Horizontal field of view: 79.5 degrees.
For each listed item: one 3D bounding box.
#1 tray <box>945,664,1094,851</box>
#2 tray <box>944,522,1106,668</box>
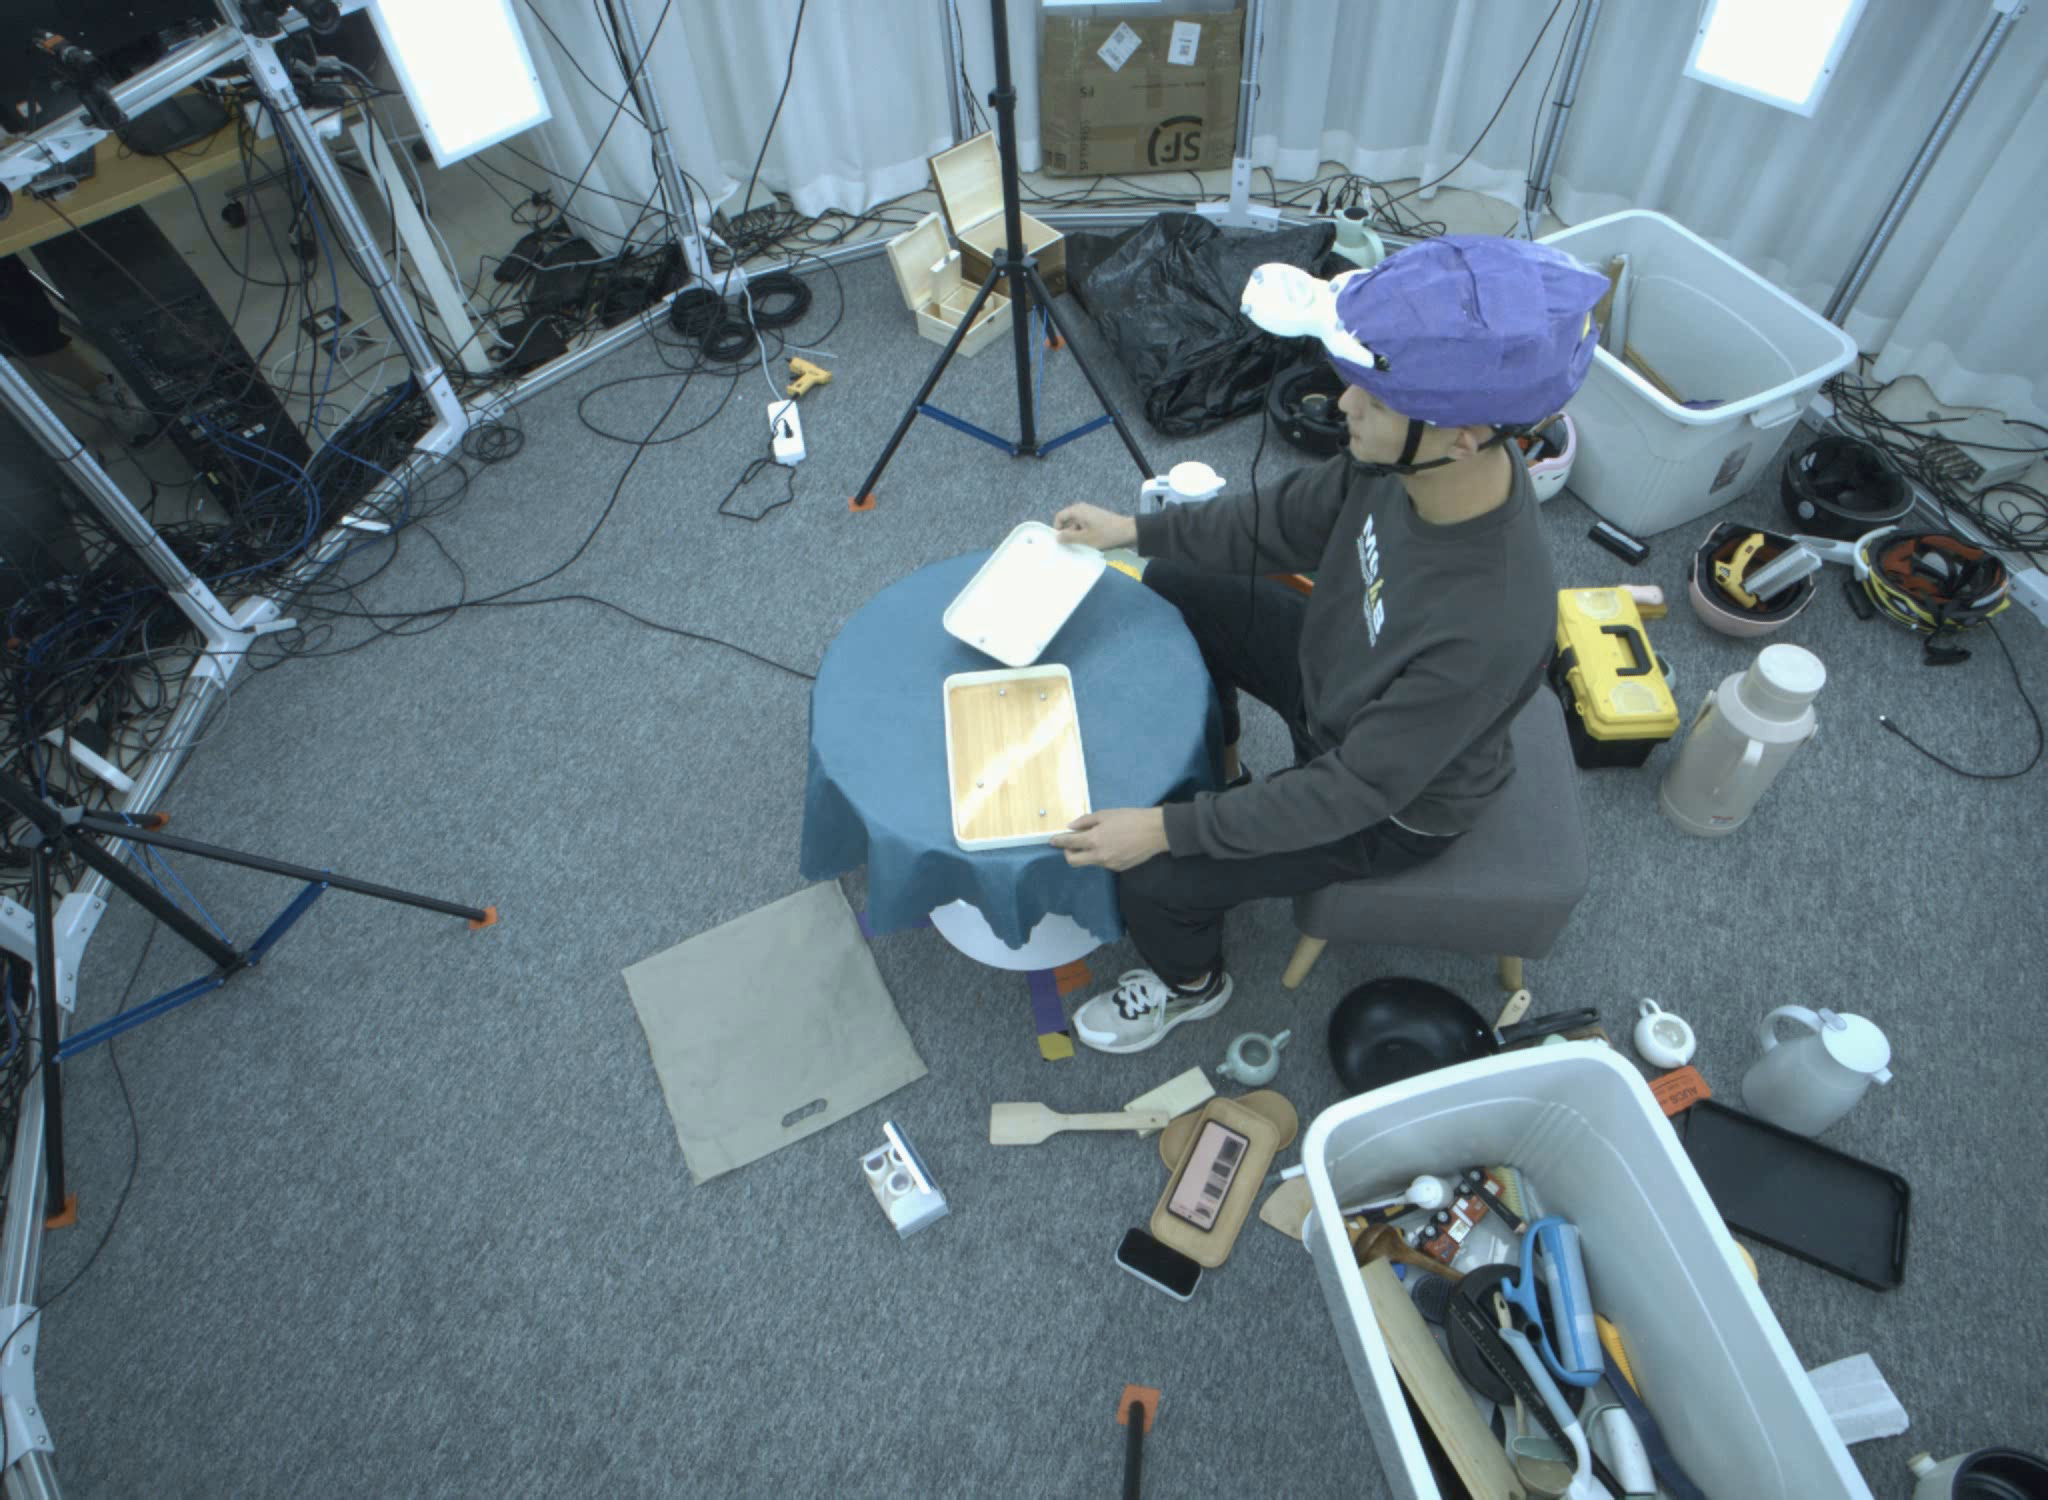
[{"bbox_3d":[-0.010,0.005,1.766,0.192,0.028,0.296,-5,55,-3],"label":"tray"},{"bbox_3d":[0.002,-0.237,1.868,0.168,0.018,0.240,29,70,21],"label":"tray"}]
